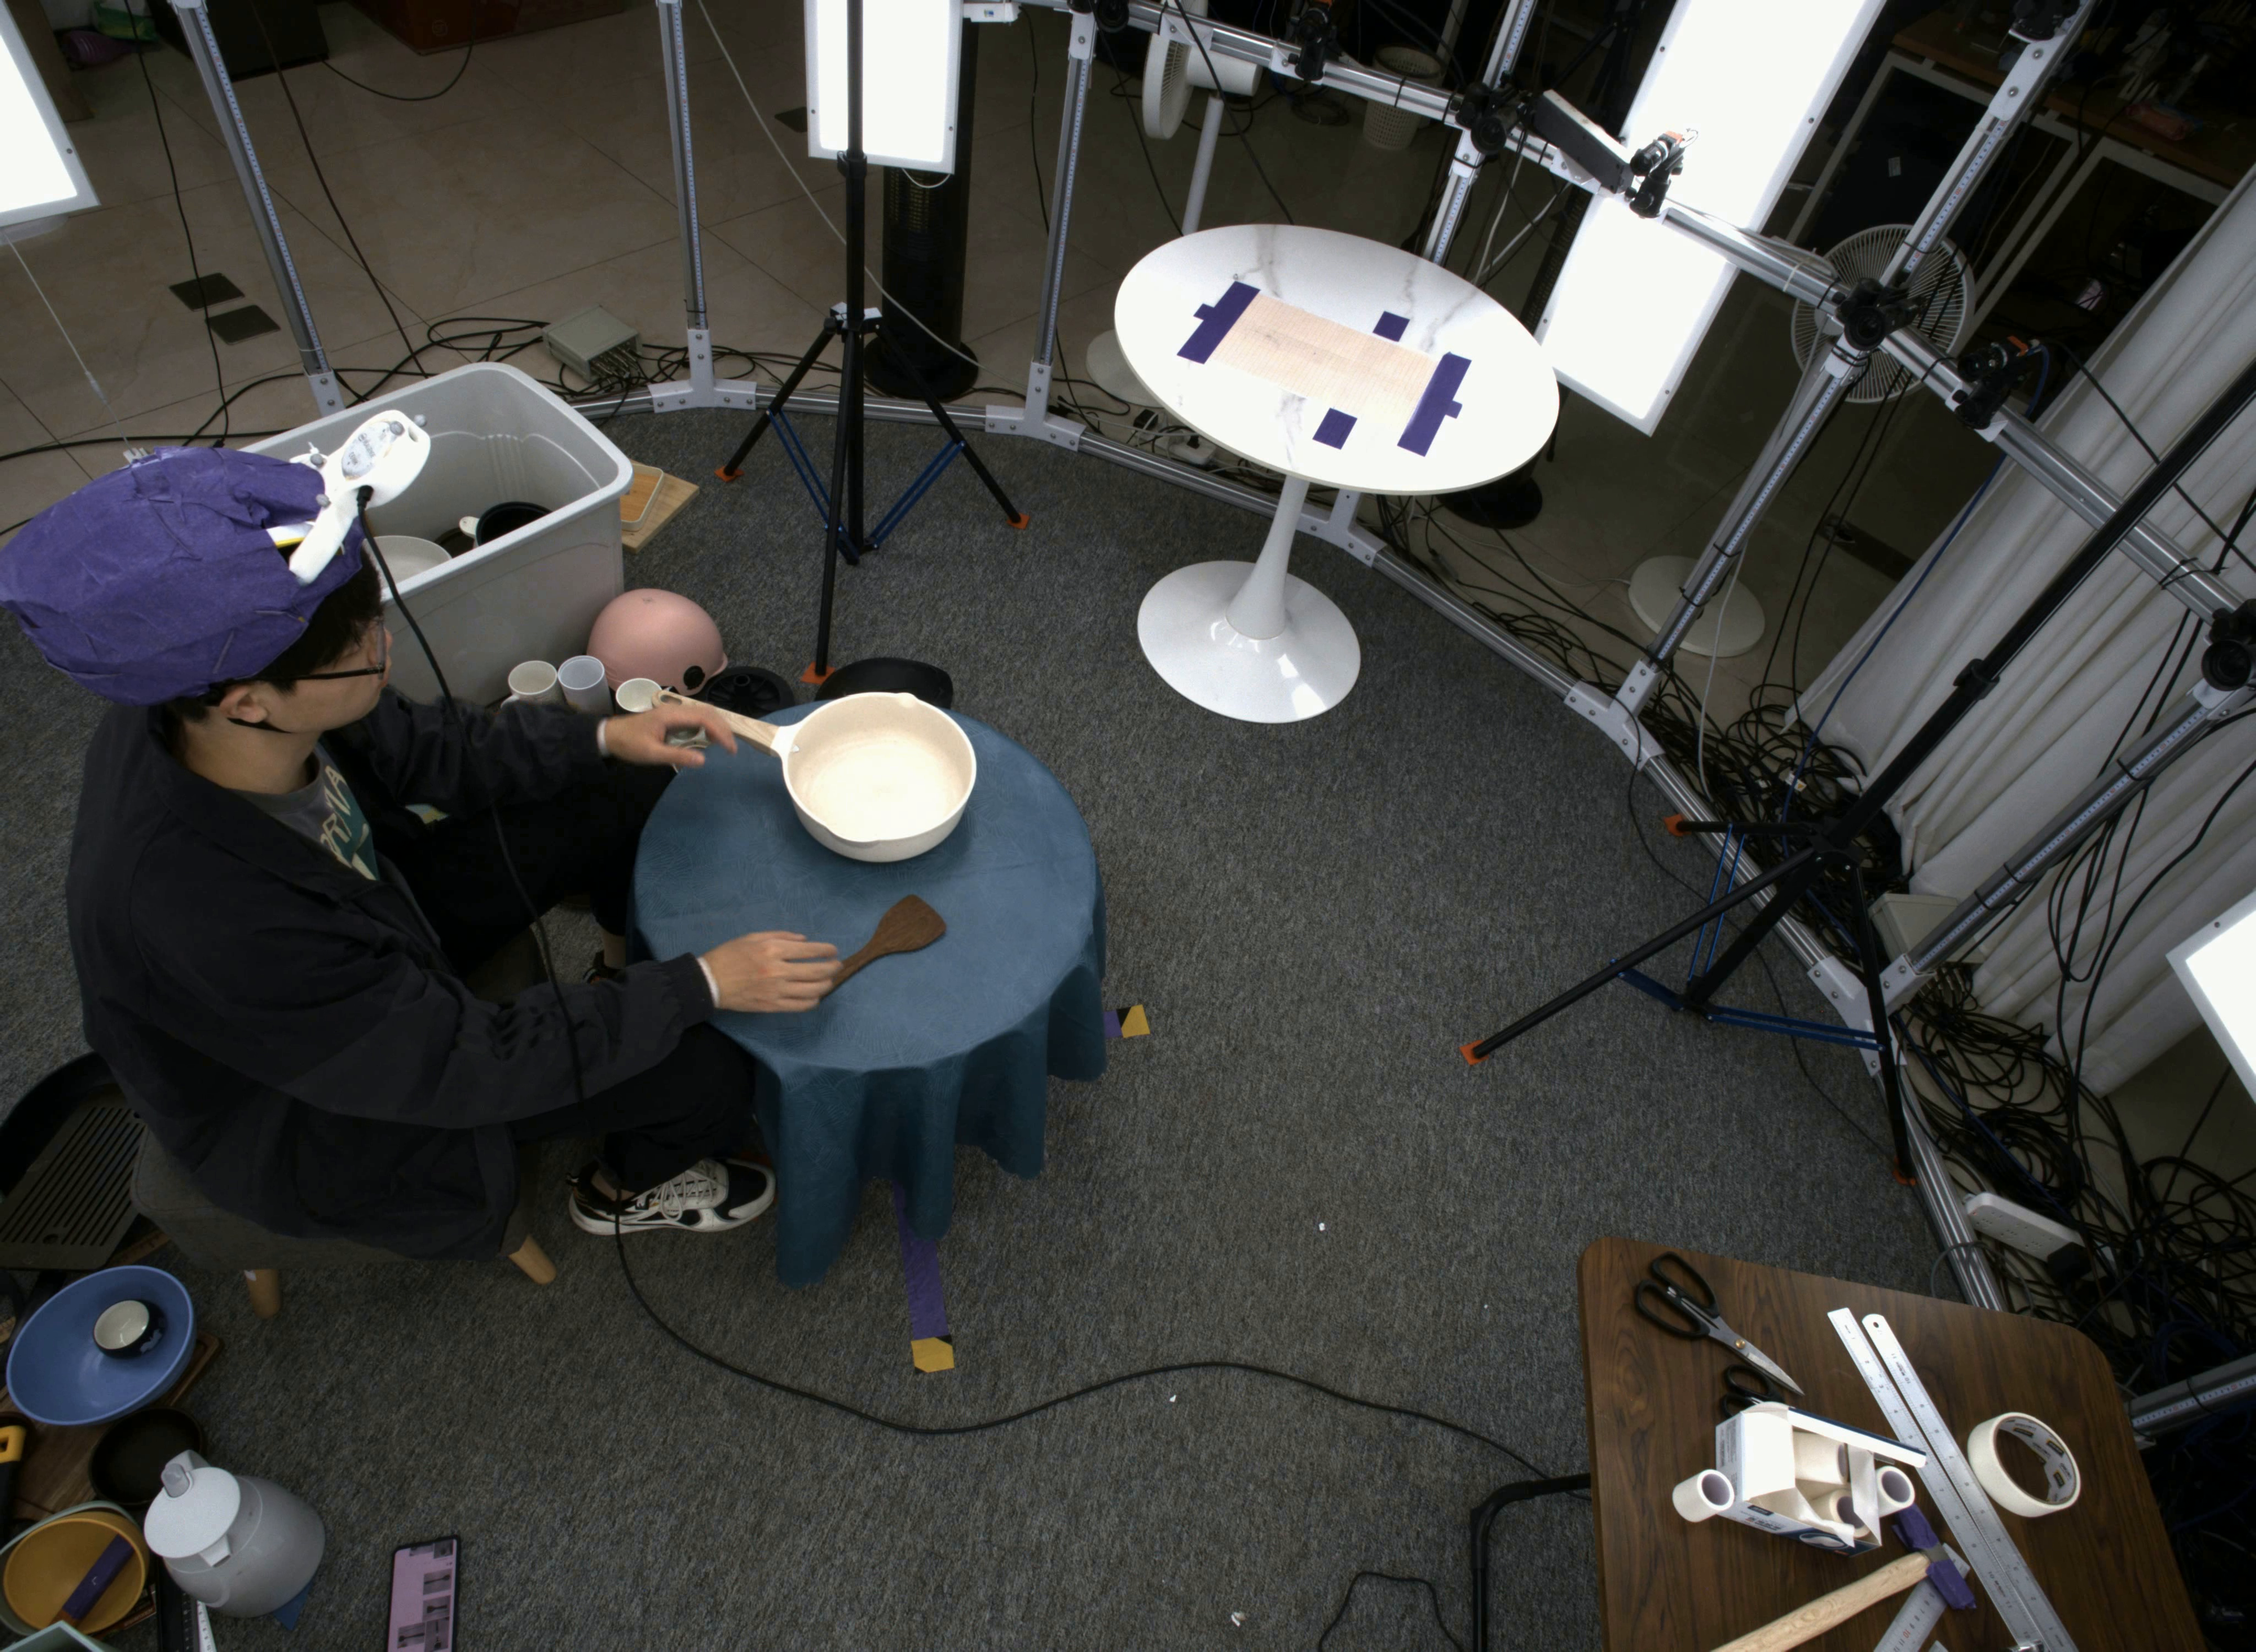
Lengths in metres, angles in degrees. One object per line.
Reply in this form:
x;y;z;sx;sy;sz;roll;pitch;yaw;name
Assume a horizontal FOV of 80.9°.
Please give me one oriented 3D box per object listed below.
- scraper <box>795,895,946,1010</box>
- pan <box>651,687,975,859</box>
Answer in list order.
-0.325;0.161;1.625;0.074;0.011;0.212;43;57;17;scraper
-0.420;-0.090;1.729;0.432;0.104;0.260;13;53;-3;pan
